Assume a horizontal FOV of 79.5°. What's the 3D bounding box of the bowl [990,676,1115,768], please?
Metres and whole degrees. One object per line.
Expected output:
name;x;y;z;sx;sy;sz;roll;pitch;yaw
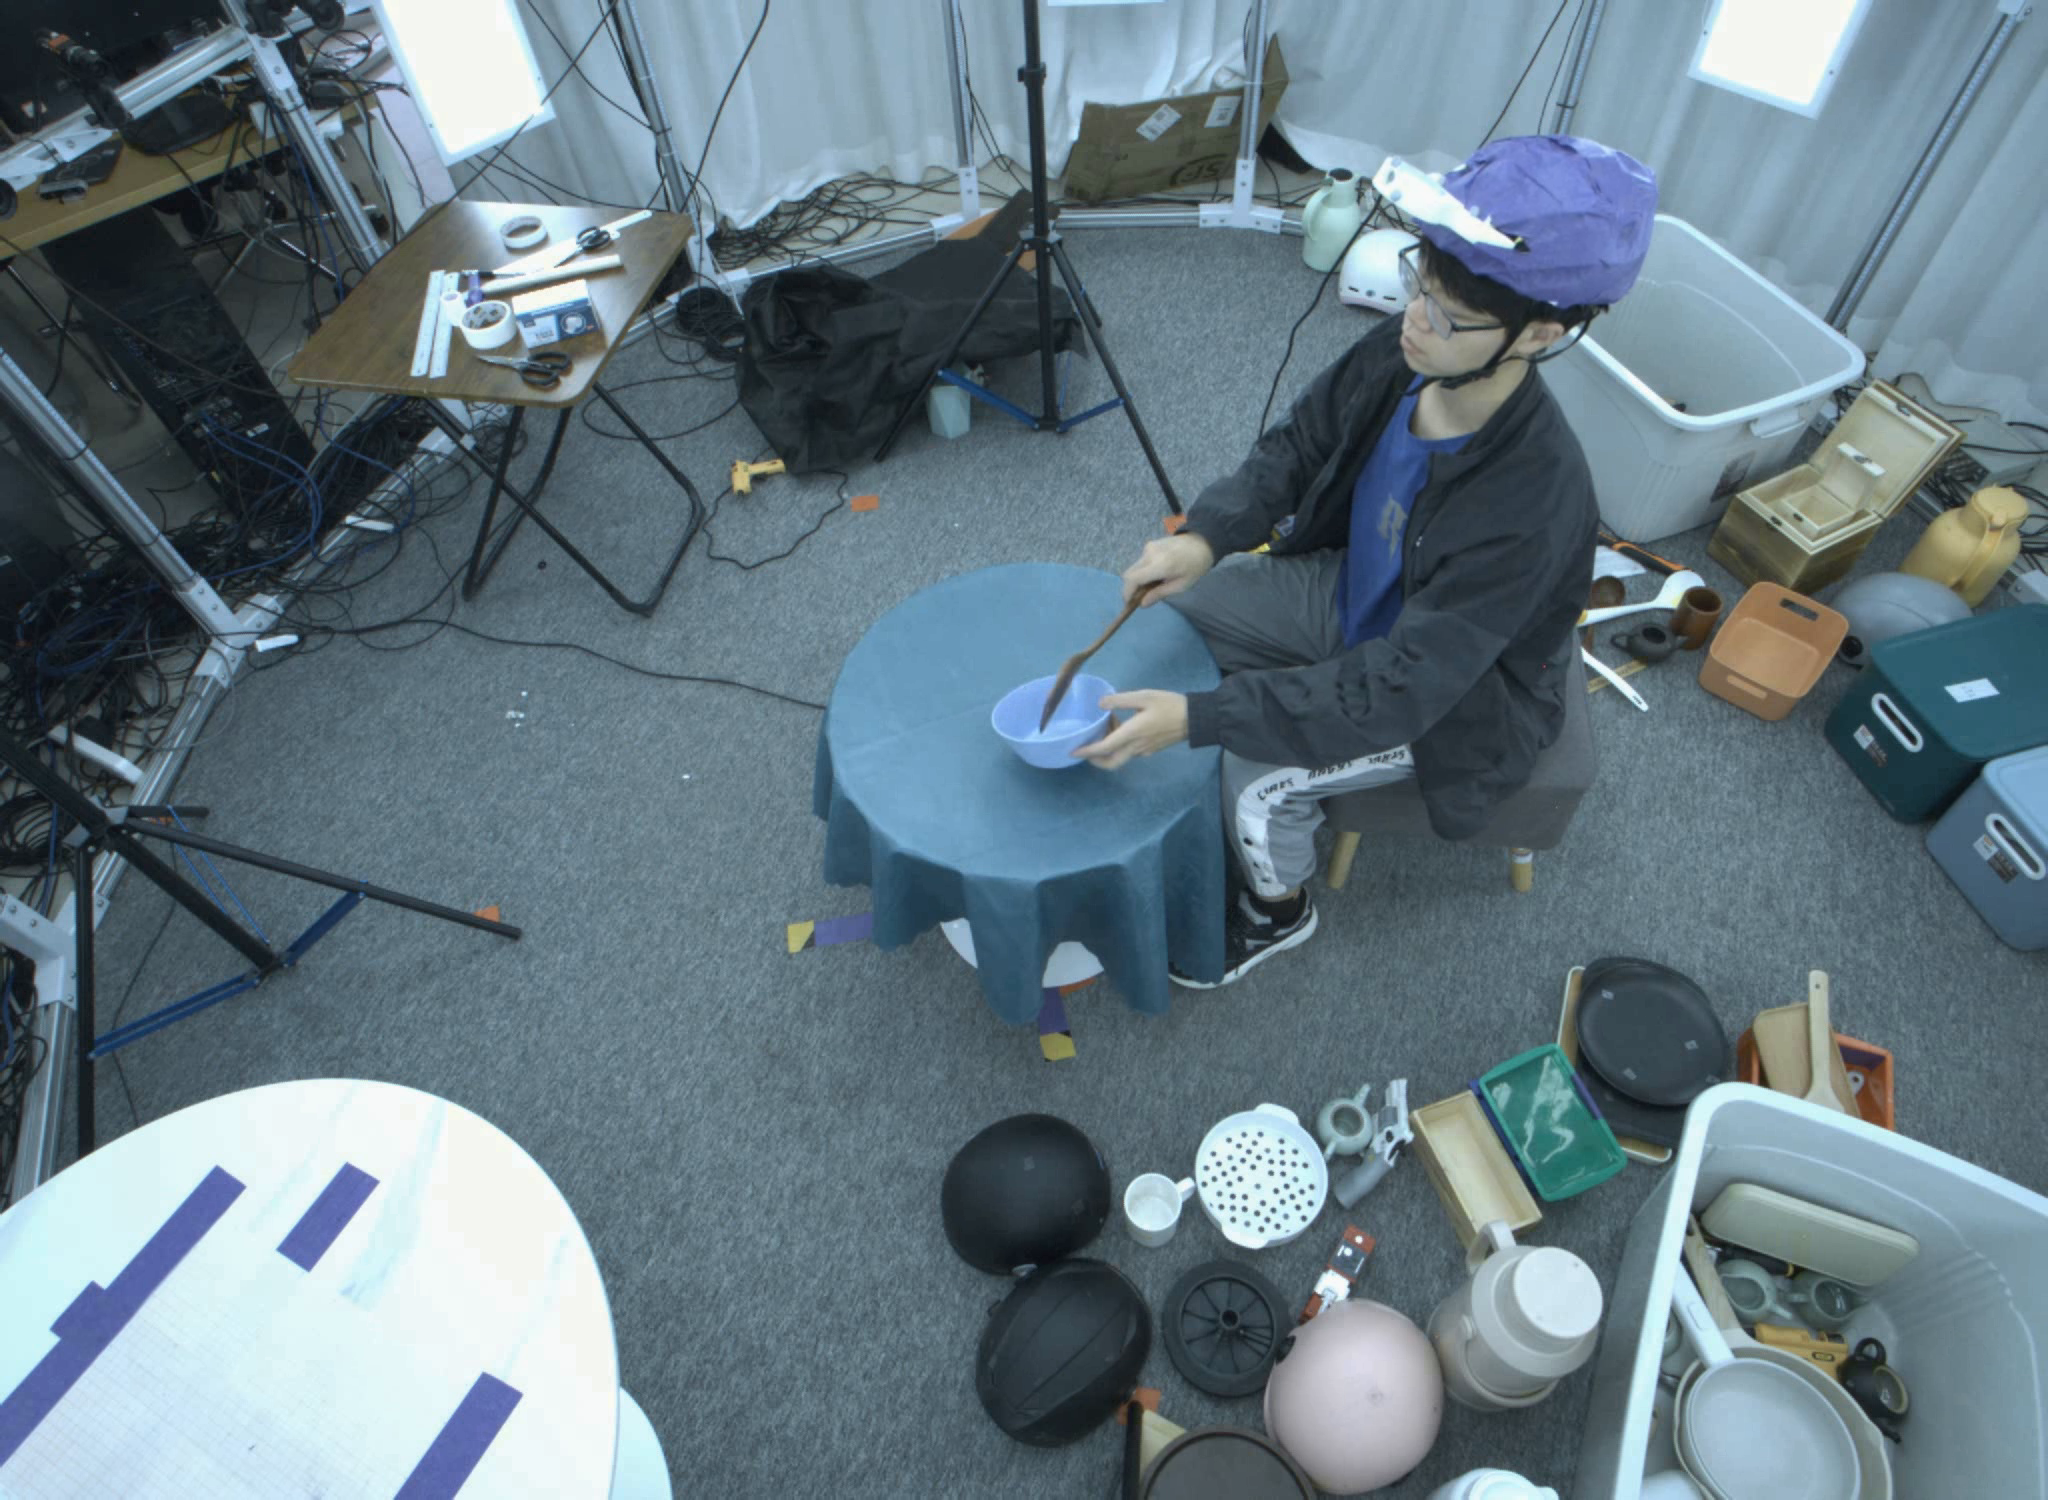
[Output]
bowl;0.045;-0.032;1.705;0.175;0.071;0.174;-9;31;7

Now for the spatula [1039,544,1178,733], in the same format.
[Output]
spatula;0.121;-0.173;1.744;0.024;0.086;0.388;32;60;13
